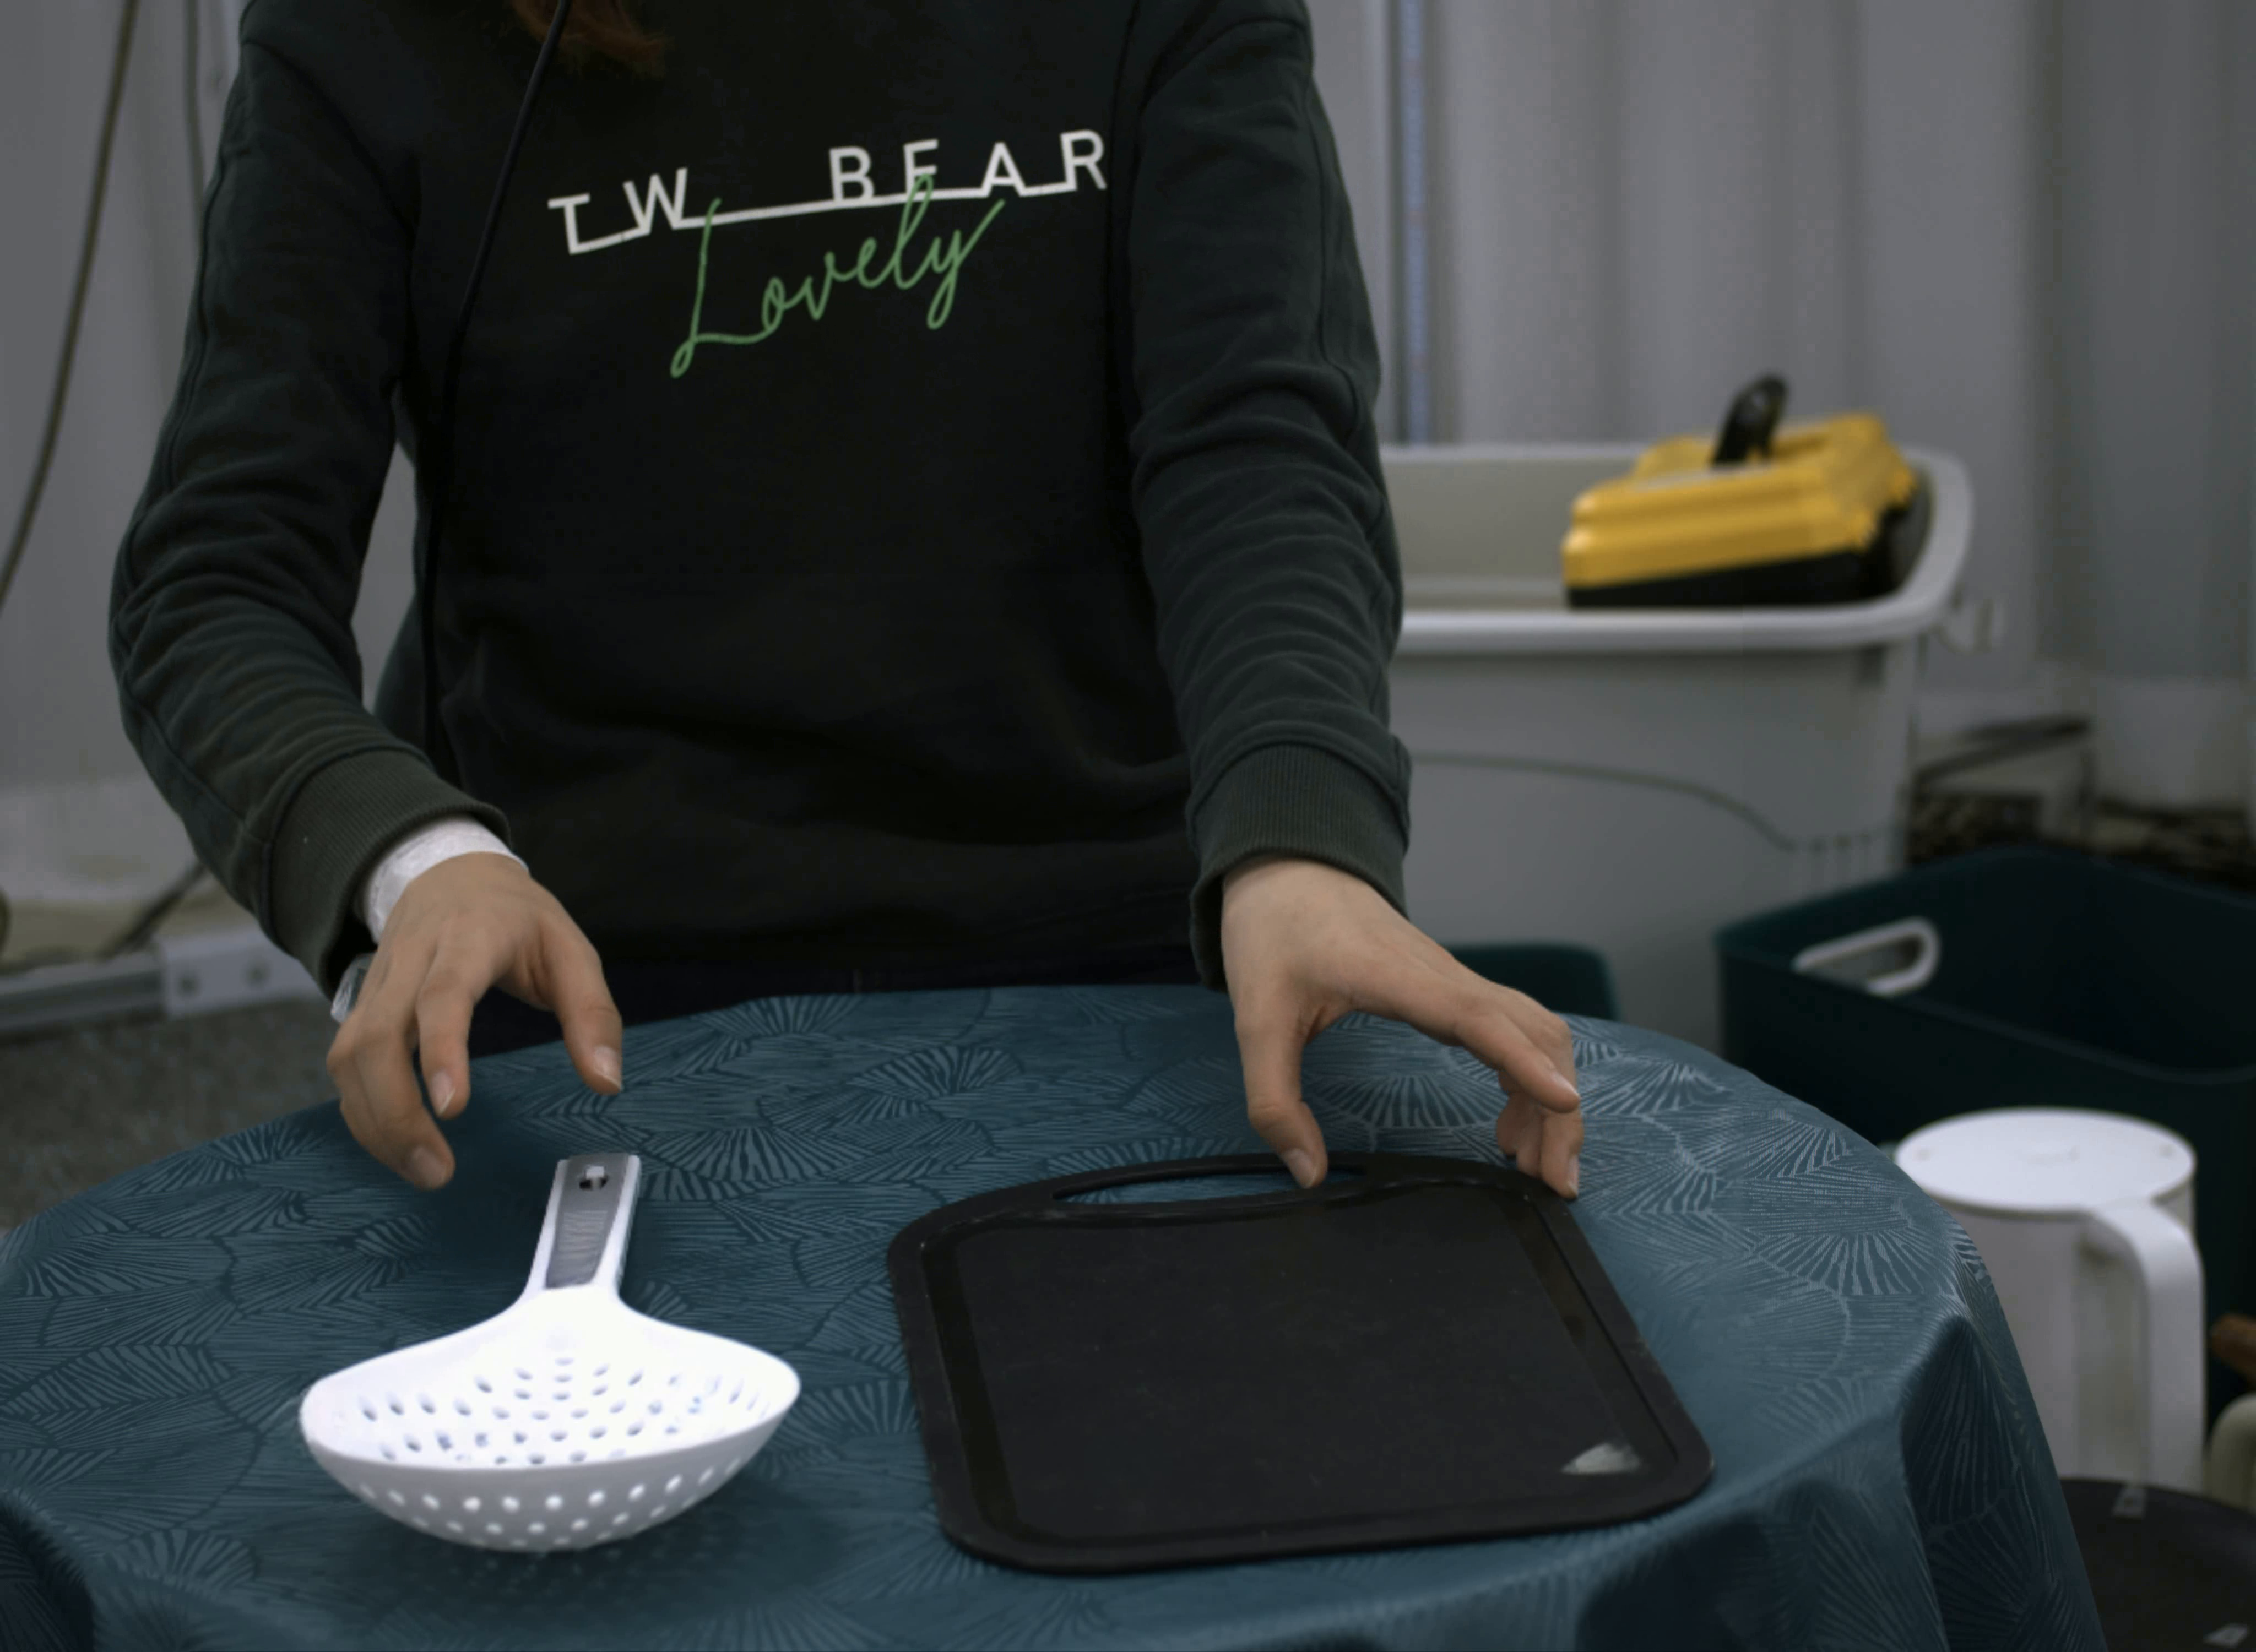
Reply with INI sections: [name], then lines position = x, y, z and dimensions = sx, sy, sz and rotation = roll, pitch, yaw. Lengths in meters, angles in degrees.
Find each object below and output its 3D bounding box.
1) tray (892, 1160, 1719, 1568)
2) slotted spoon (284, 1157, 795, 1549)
[tray]
position = 0.042, 0.147, 1.573
dimensions = 0.210, 0.010, 0.328
rotation = -4, 15, -5
[slotted spoon]
position = -0.160, 0.141, 1.559
dimensions = 0.135, 0.045, 0.352
rotation = -1, 14, -2
